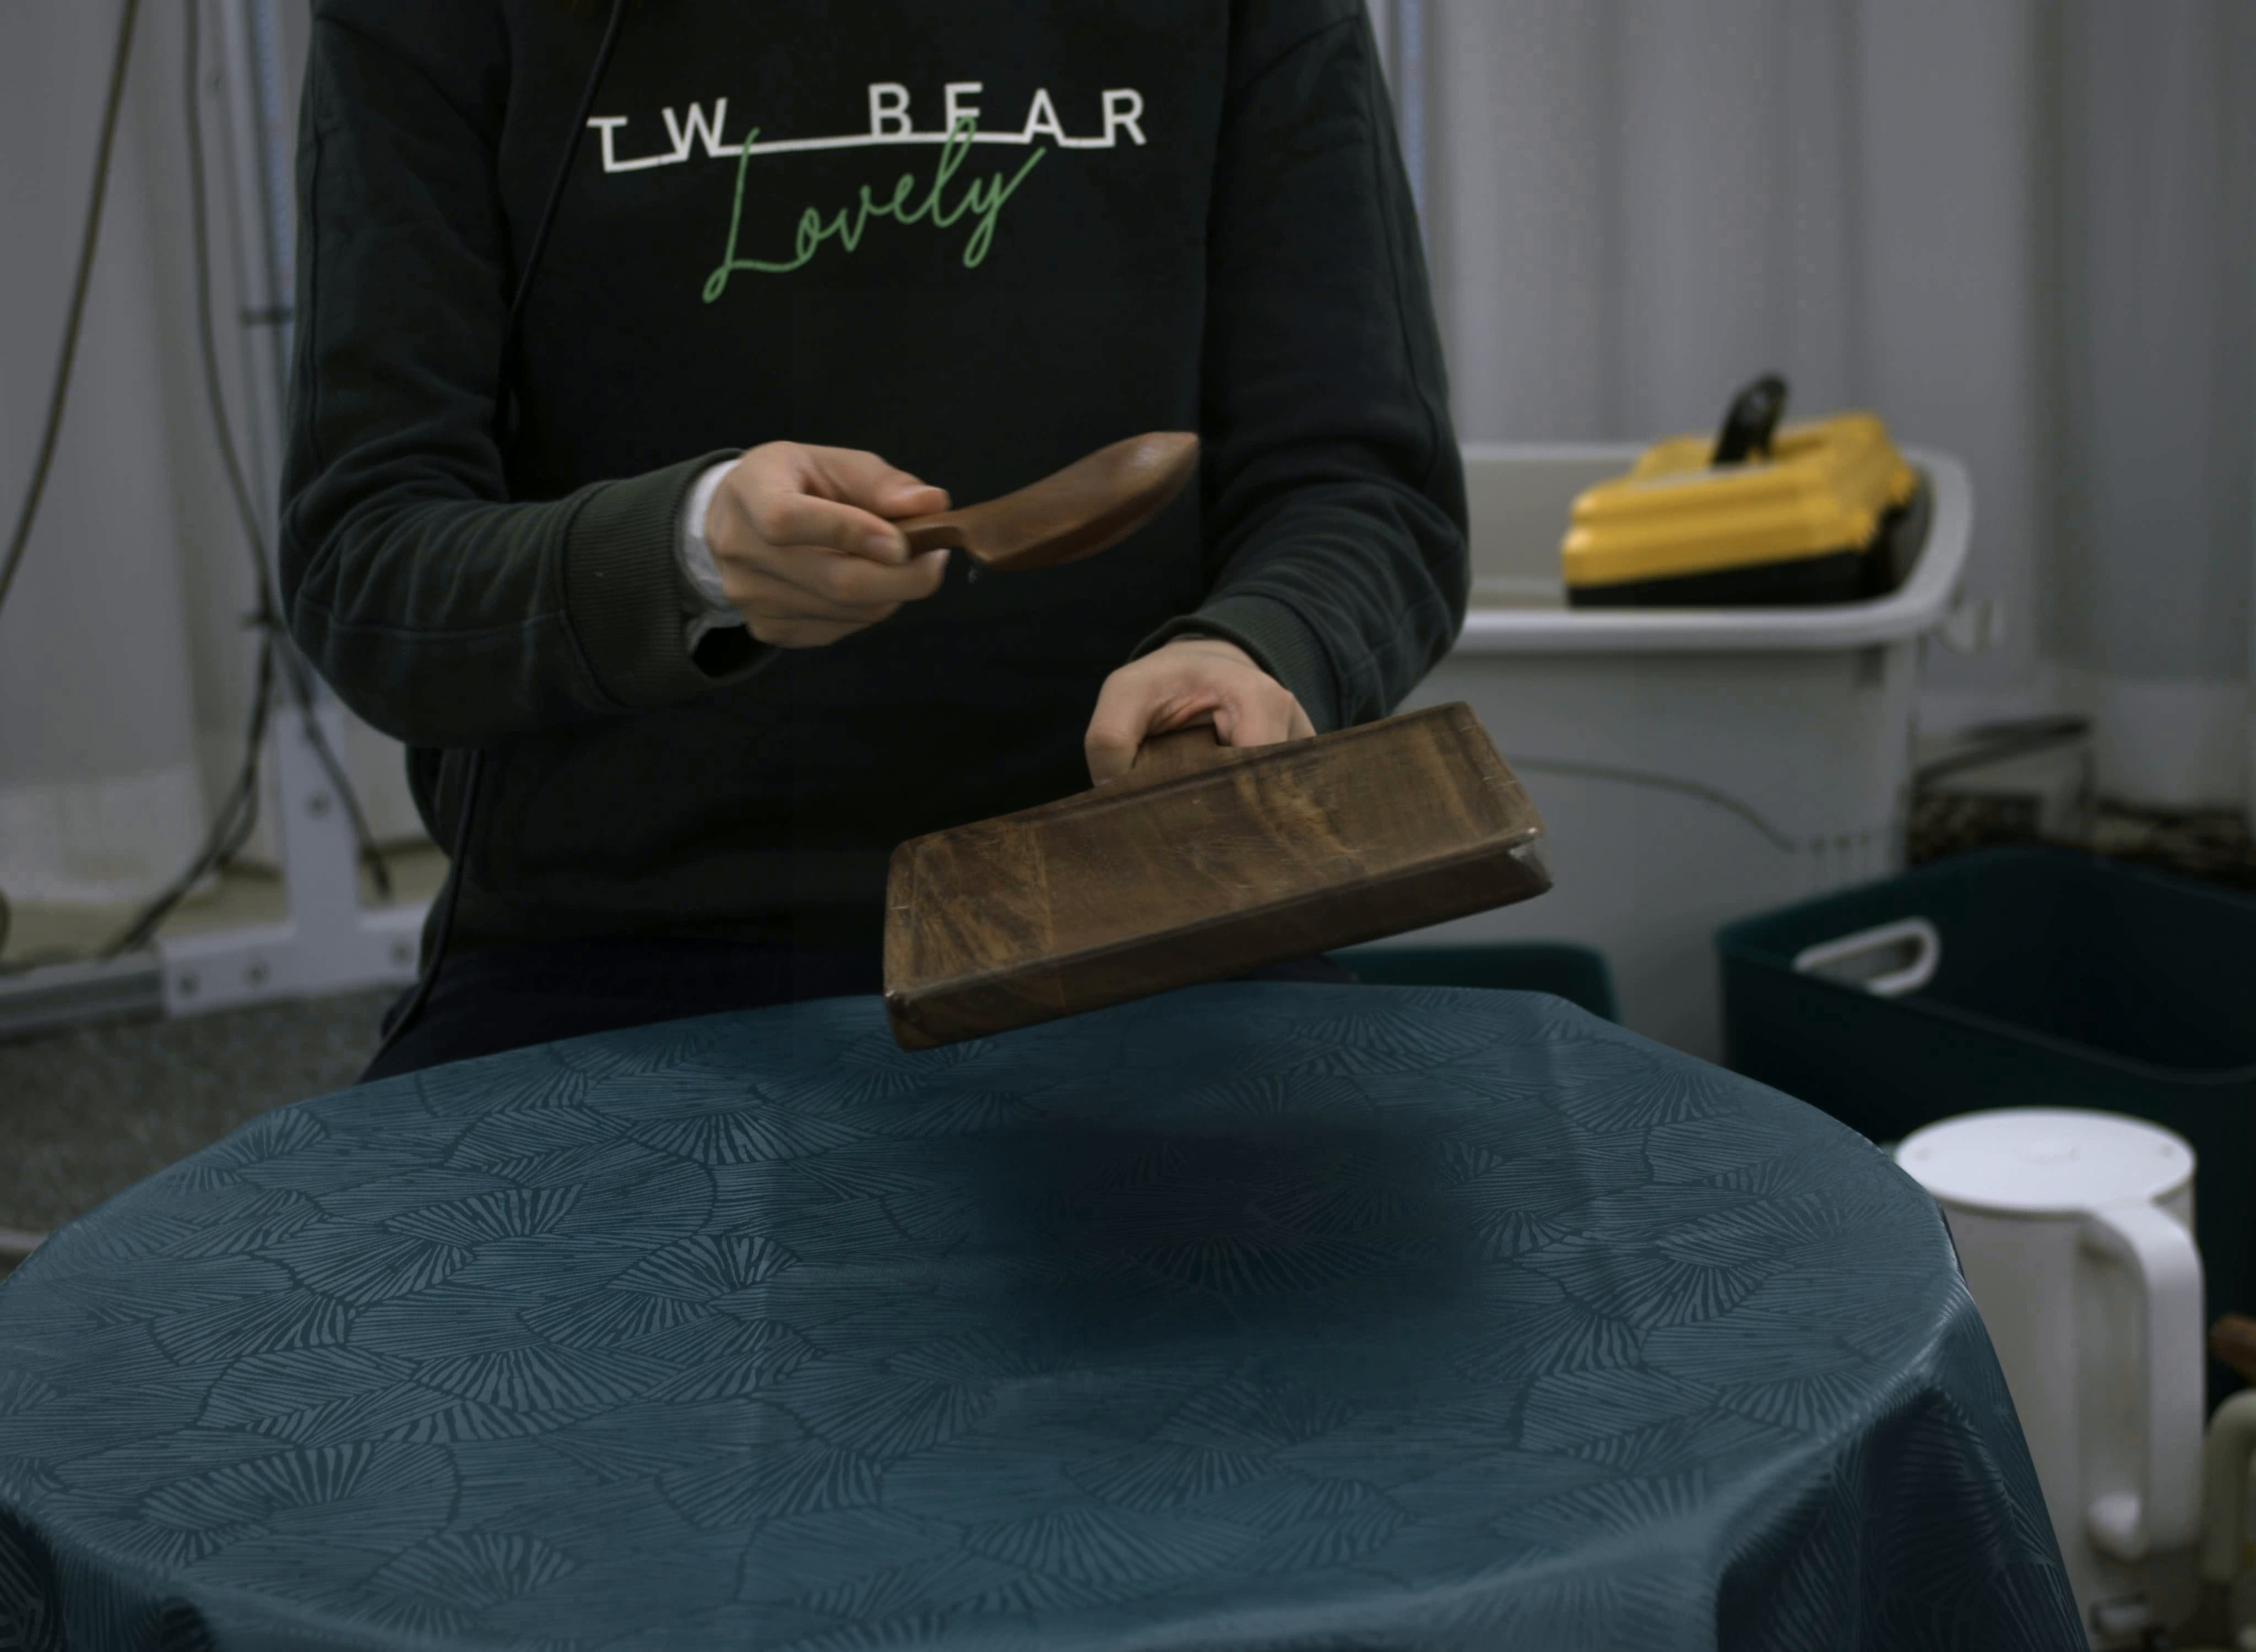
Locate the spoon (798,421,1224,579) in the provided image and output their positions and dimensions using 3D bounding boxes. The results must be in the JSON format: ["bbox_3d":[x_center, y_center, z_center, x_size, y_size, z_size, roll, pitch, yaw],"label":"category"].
[{"bbox_3d":[-0.041,-0.096,1.737,0.076,0.017,0.216,-43,22,-29],"label":"spoon"}]

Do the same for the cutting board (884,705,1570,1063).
[{"bbox_3d":[0.022,0.005,1.708,0.200,0.023,0.354,-15,10,1],"label":"cutting board"}]
